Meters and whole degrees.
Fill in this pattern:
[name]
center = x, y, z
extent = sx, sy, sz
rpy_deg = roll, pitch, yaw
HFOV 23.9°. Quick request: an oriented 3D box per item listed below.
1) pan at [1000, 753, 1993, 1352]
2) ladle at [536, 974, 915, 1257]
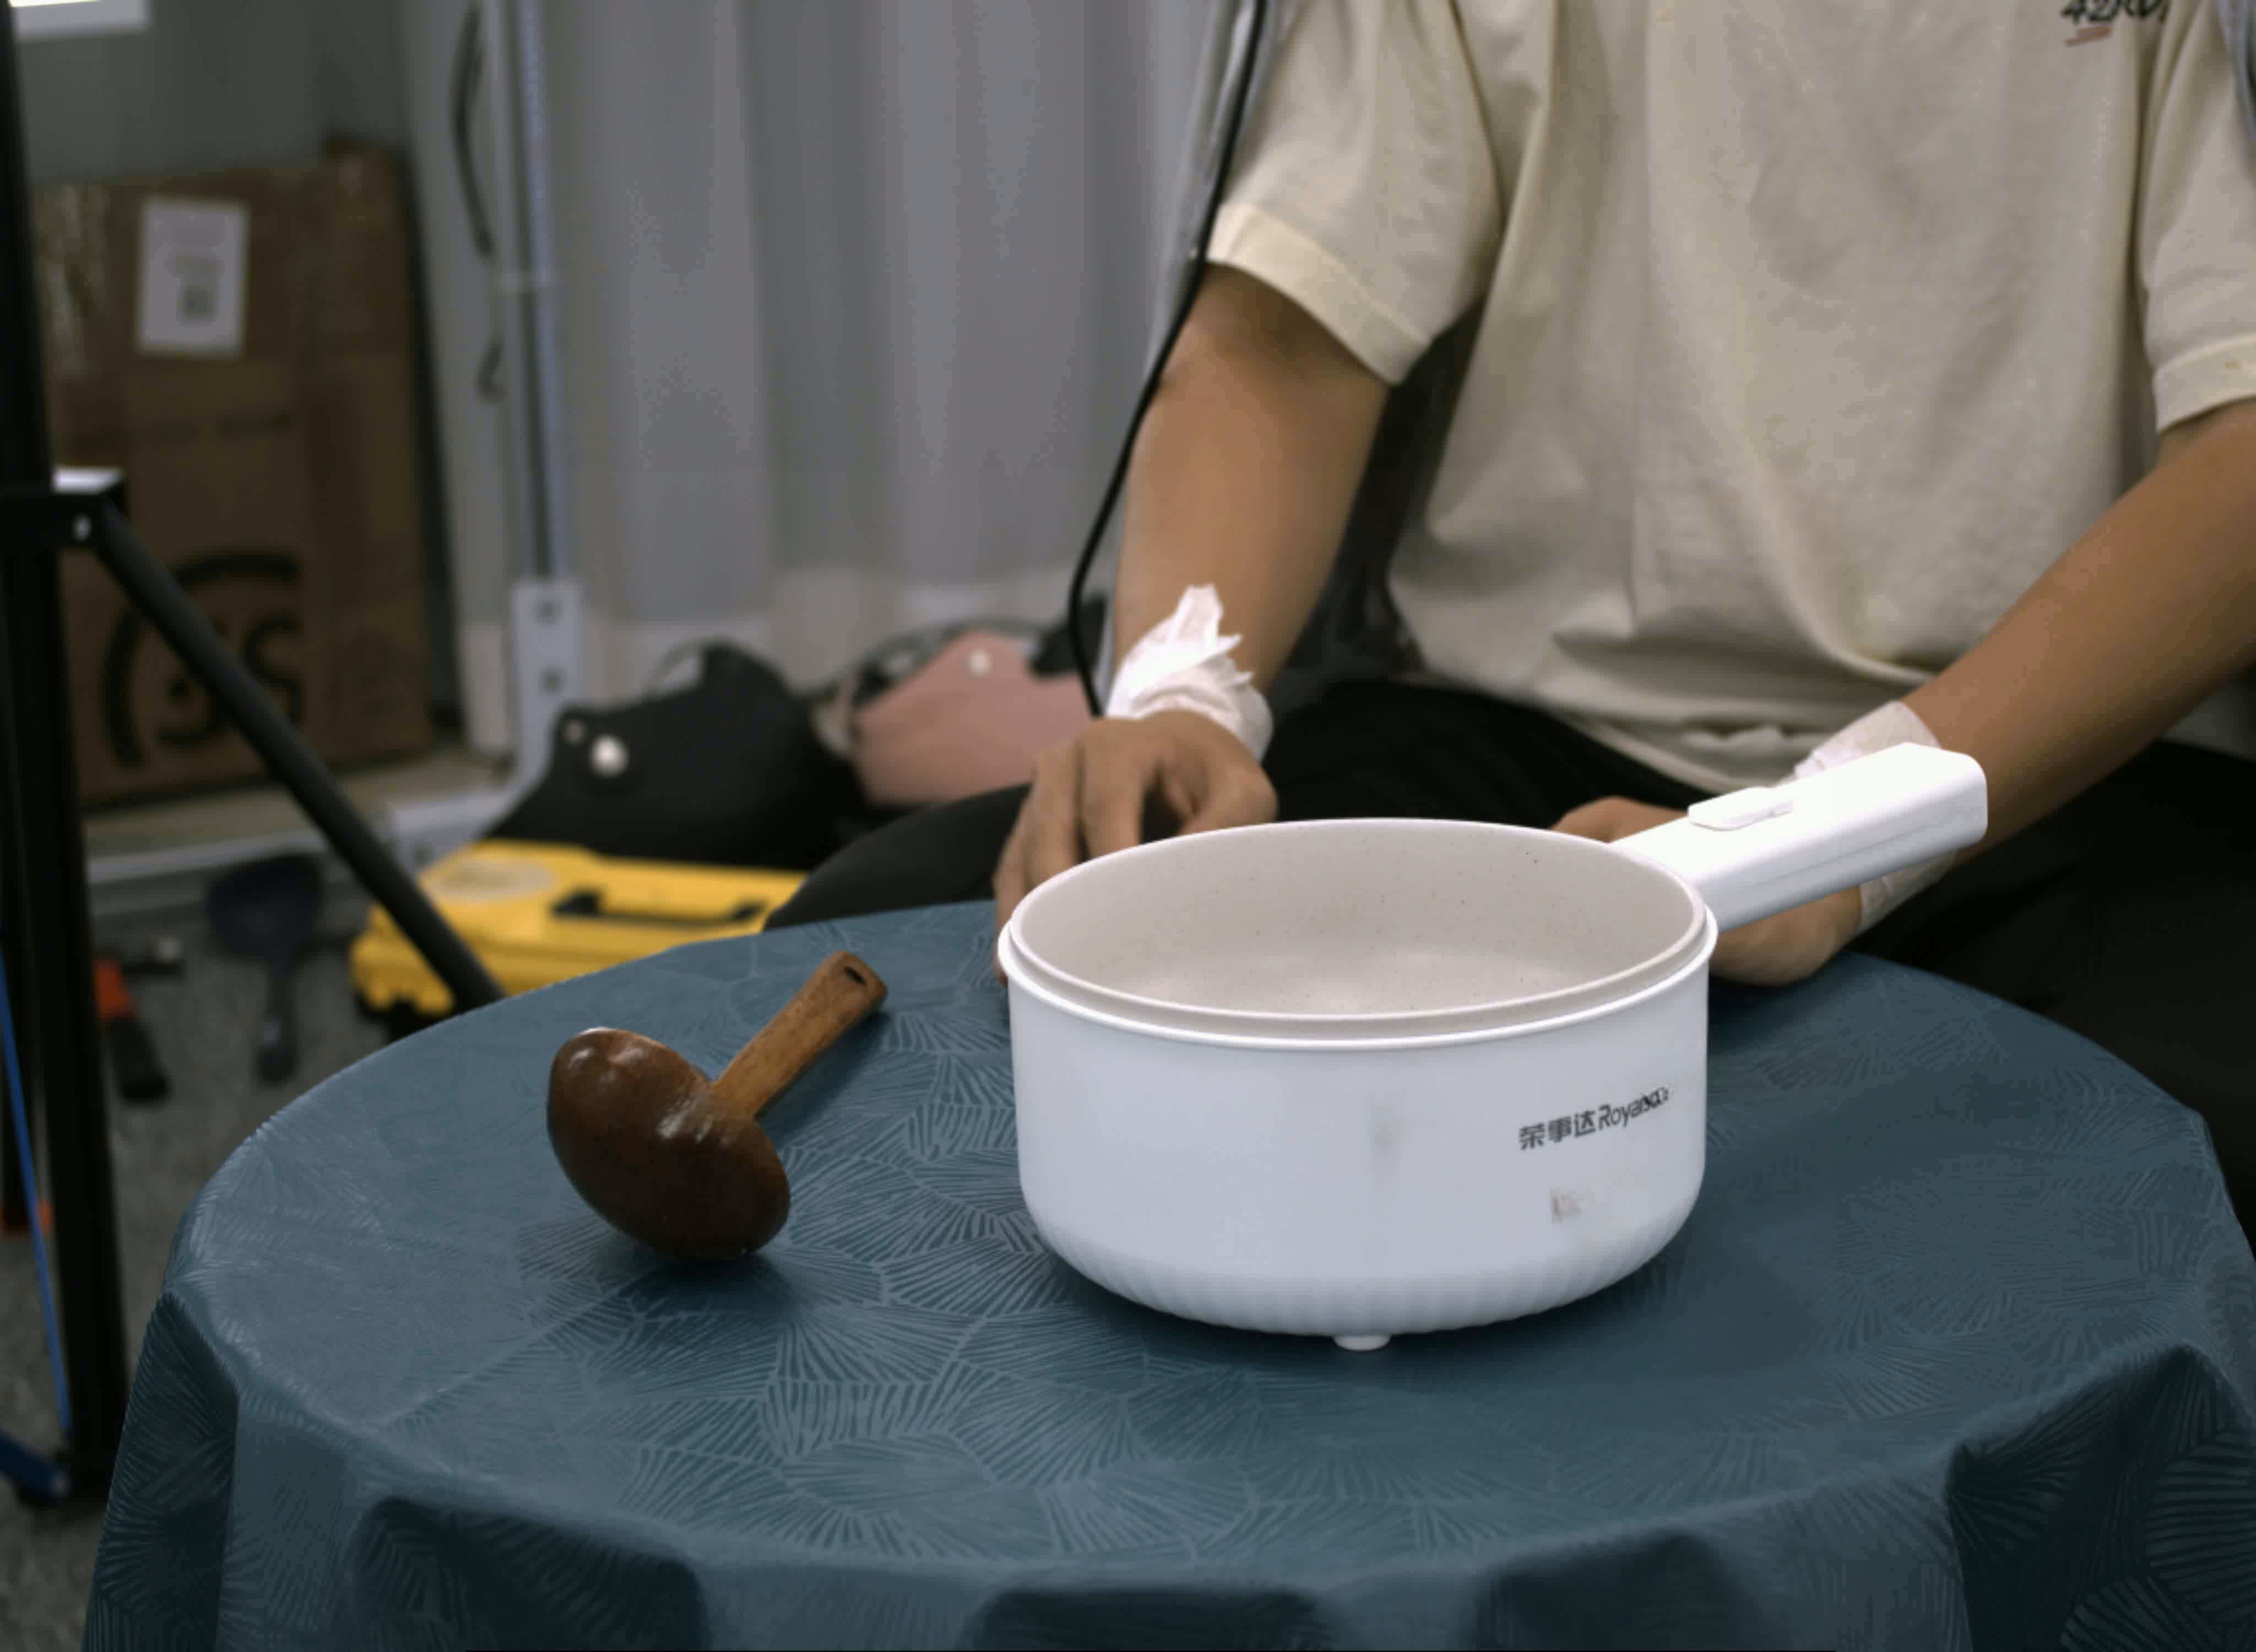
[pan]
center = 0.122, 0.059, 1.534
extent = 0.346, 0.102, 0.206
rpy_deg = -14, 18, -39
[ladle]
center = -0.102, 0.065, 1.602
extent = 0.077, 0.082, 0.271
rpy_deg = -44, -3, 23
